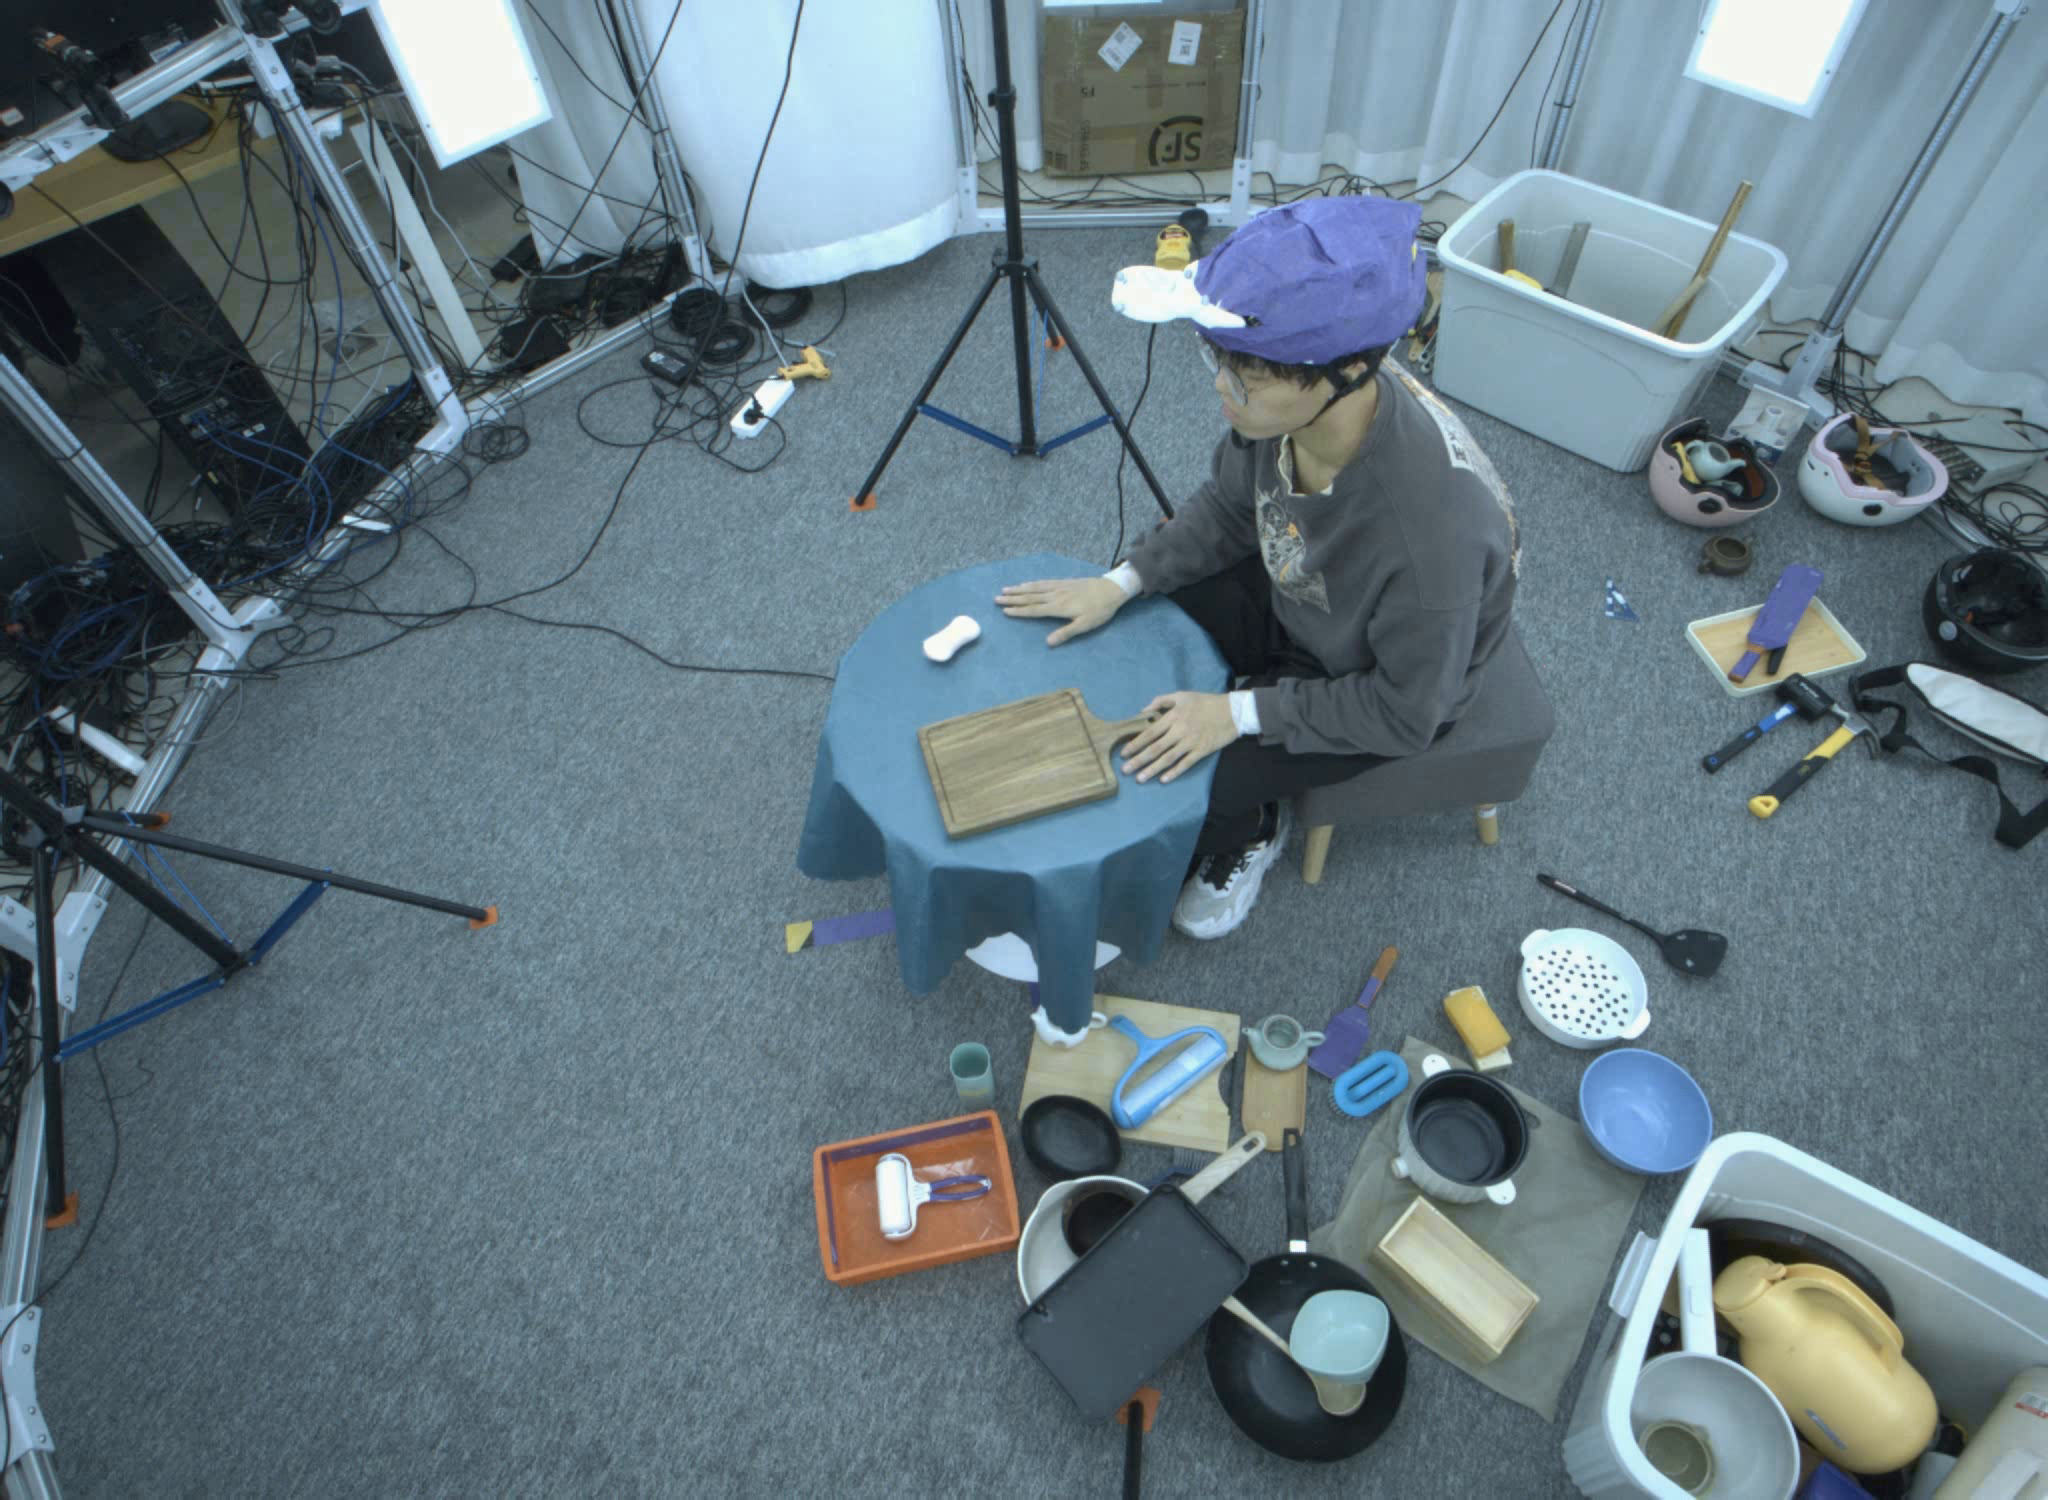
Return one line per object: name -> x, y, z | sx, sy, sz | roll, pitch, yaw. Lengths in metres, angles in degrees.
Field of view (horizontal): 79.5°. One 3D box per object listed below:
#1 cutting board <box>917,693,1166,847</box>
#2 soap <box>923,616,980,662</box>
cutting board -> 0.036, 0.012, 1.762 | 0.354, 0.023, 0.198 | -14, 55, -8
soap -> -0.112, -0.172, 1.895 | 0.095, 0.031, 0.049 | -39, 62, -25
